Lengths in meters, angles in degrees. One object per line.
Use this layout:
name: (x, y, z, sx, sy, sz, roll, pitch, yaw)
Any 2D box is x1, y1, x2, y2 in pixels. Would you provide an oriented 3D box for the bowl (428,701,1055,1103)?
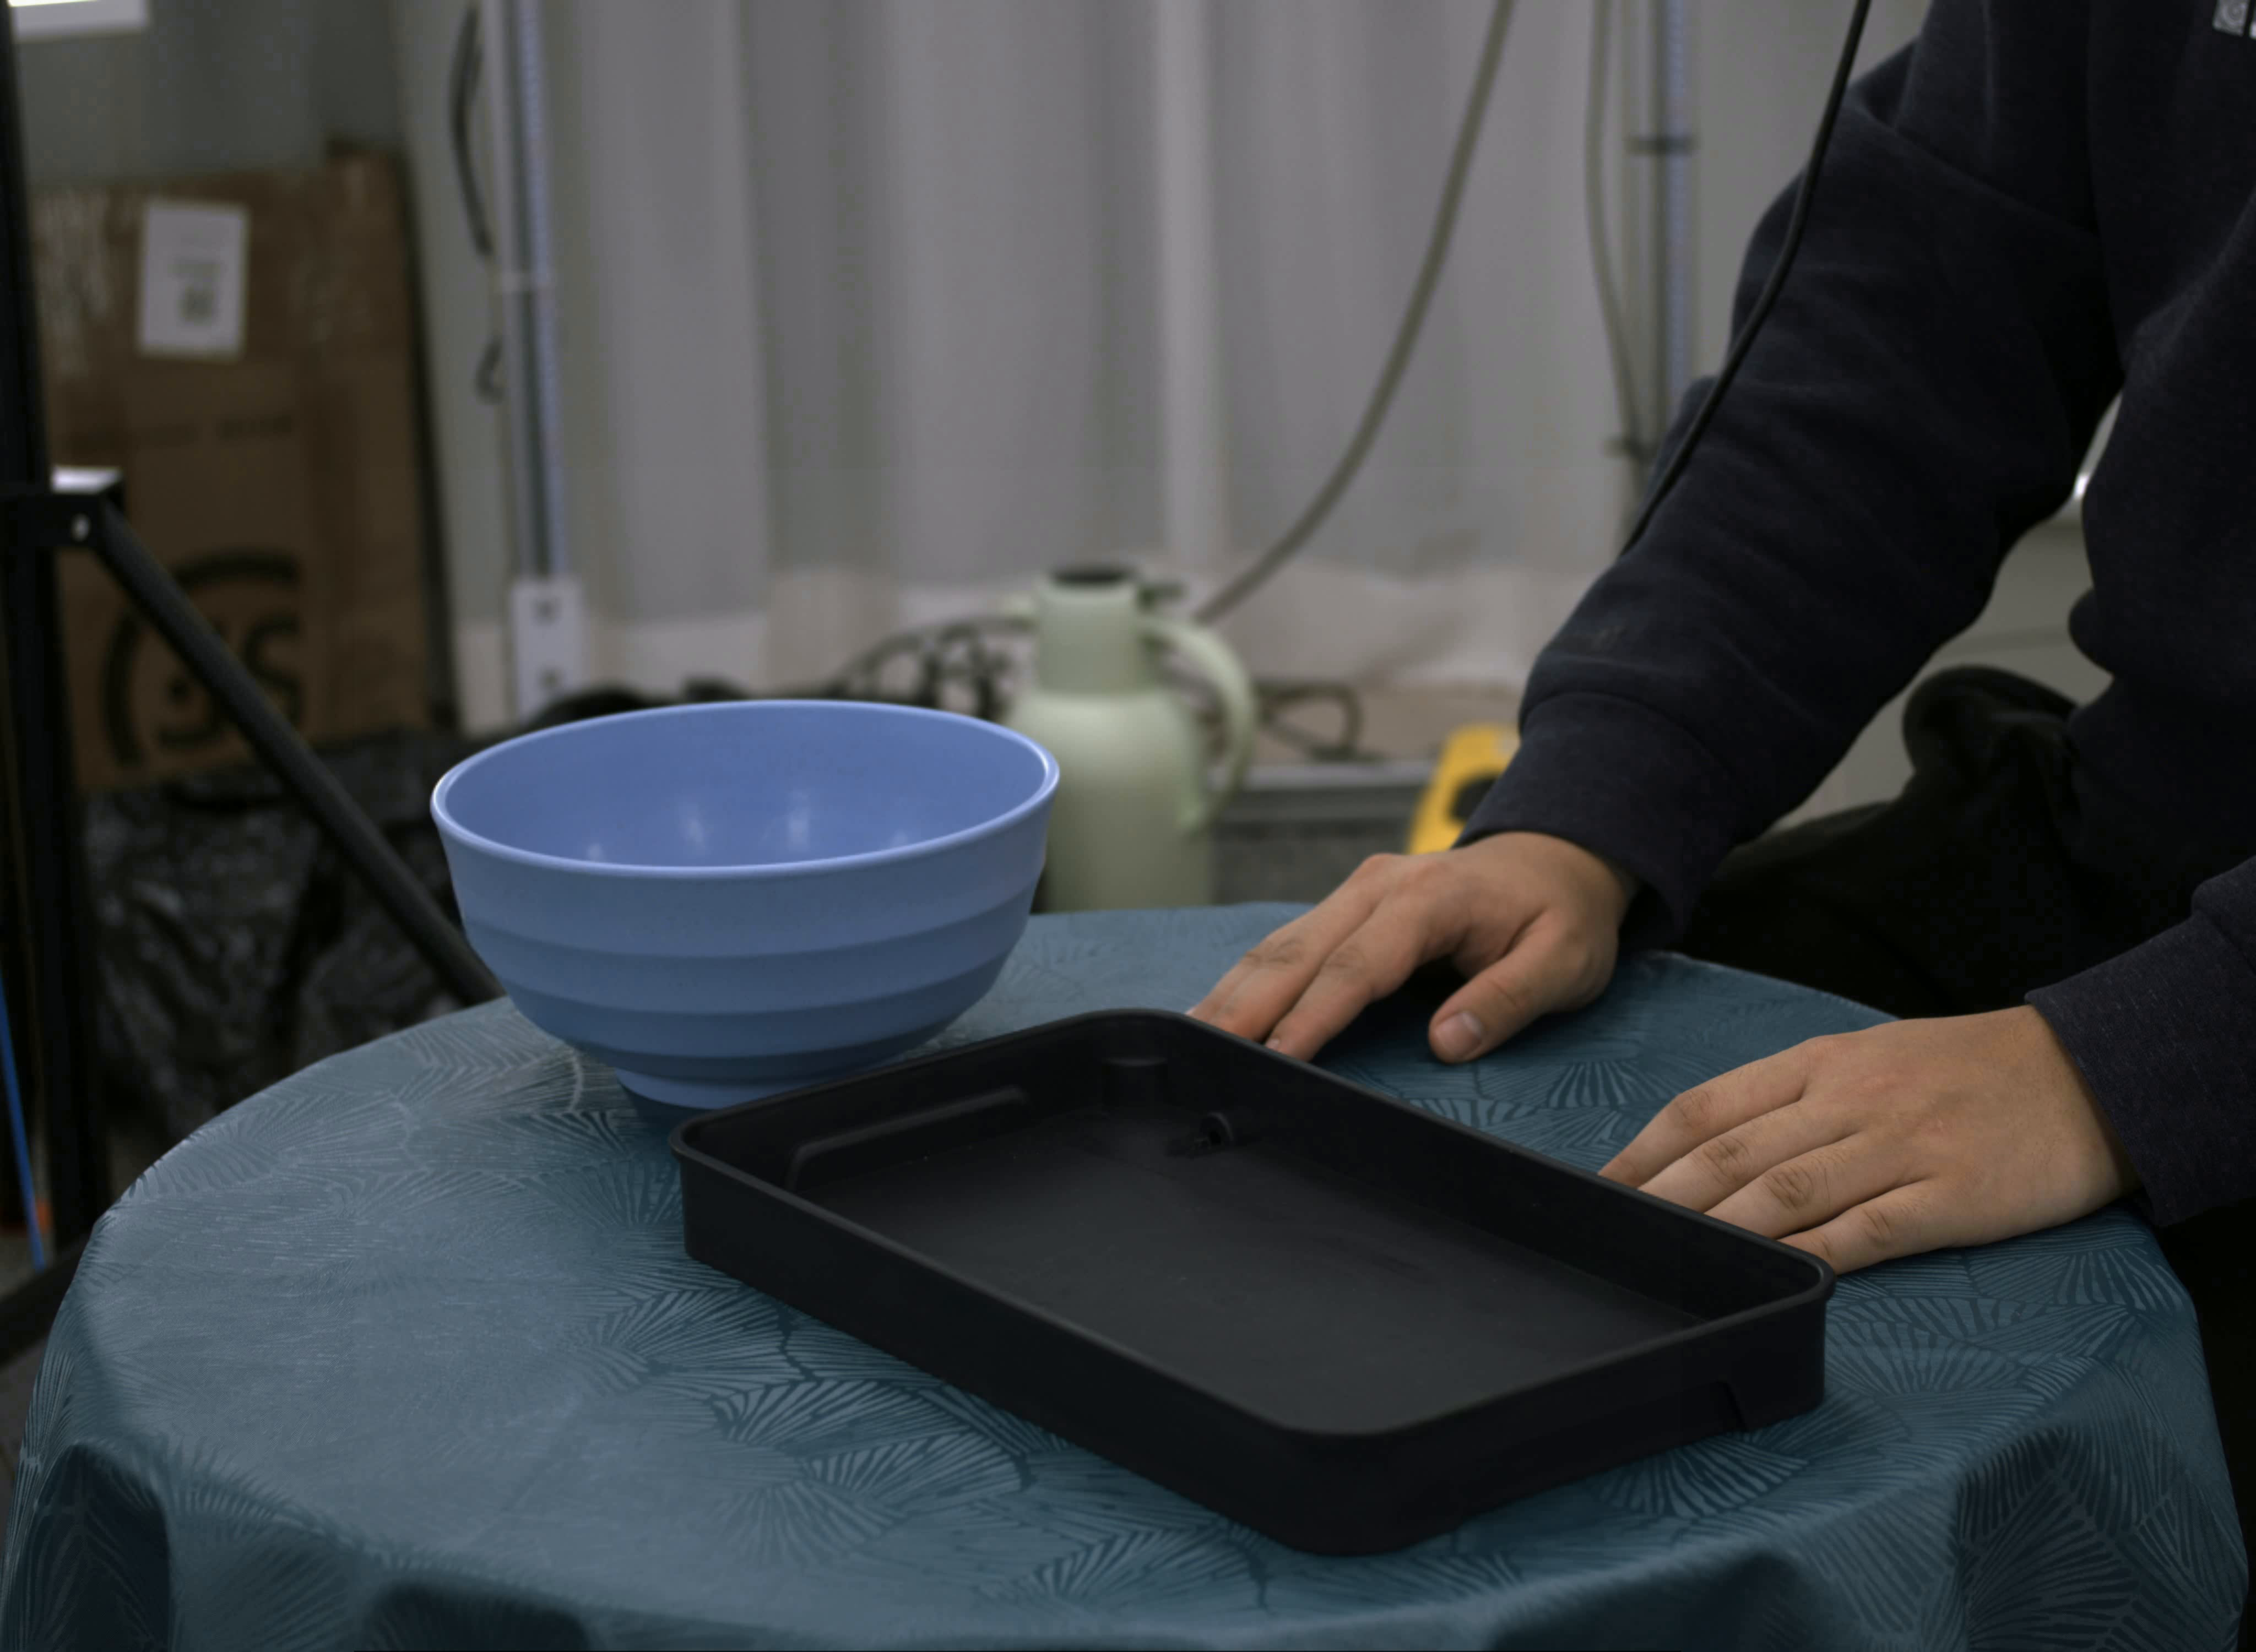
bowl: (-0.117, 0.028, 1.674, 0.195, 0.095, 0.197, -4, 14, 0)

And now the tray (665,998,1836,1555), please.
tray: (0.027, 0.116, 1.454, 0.180, 0.037, 0.325, -13, 19, -34)
